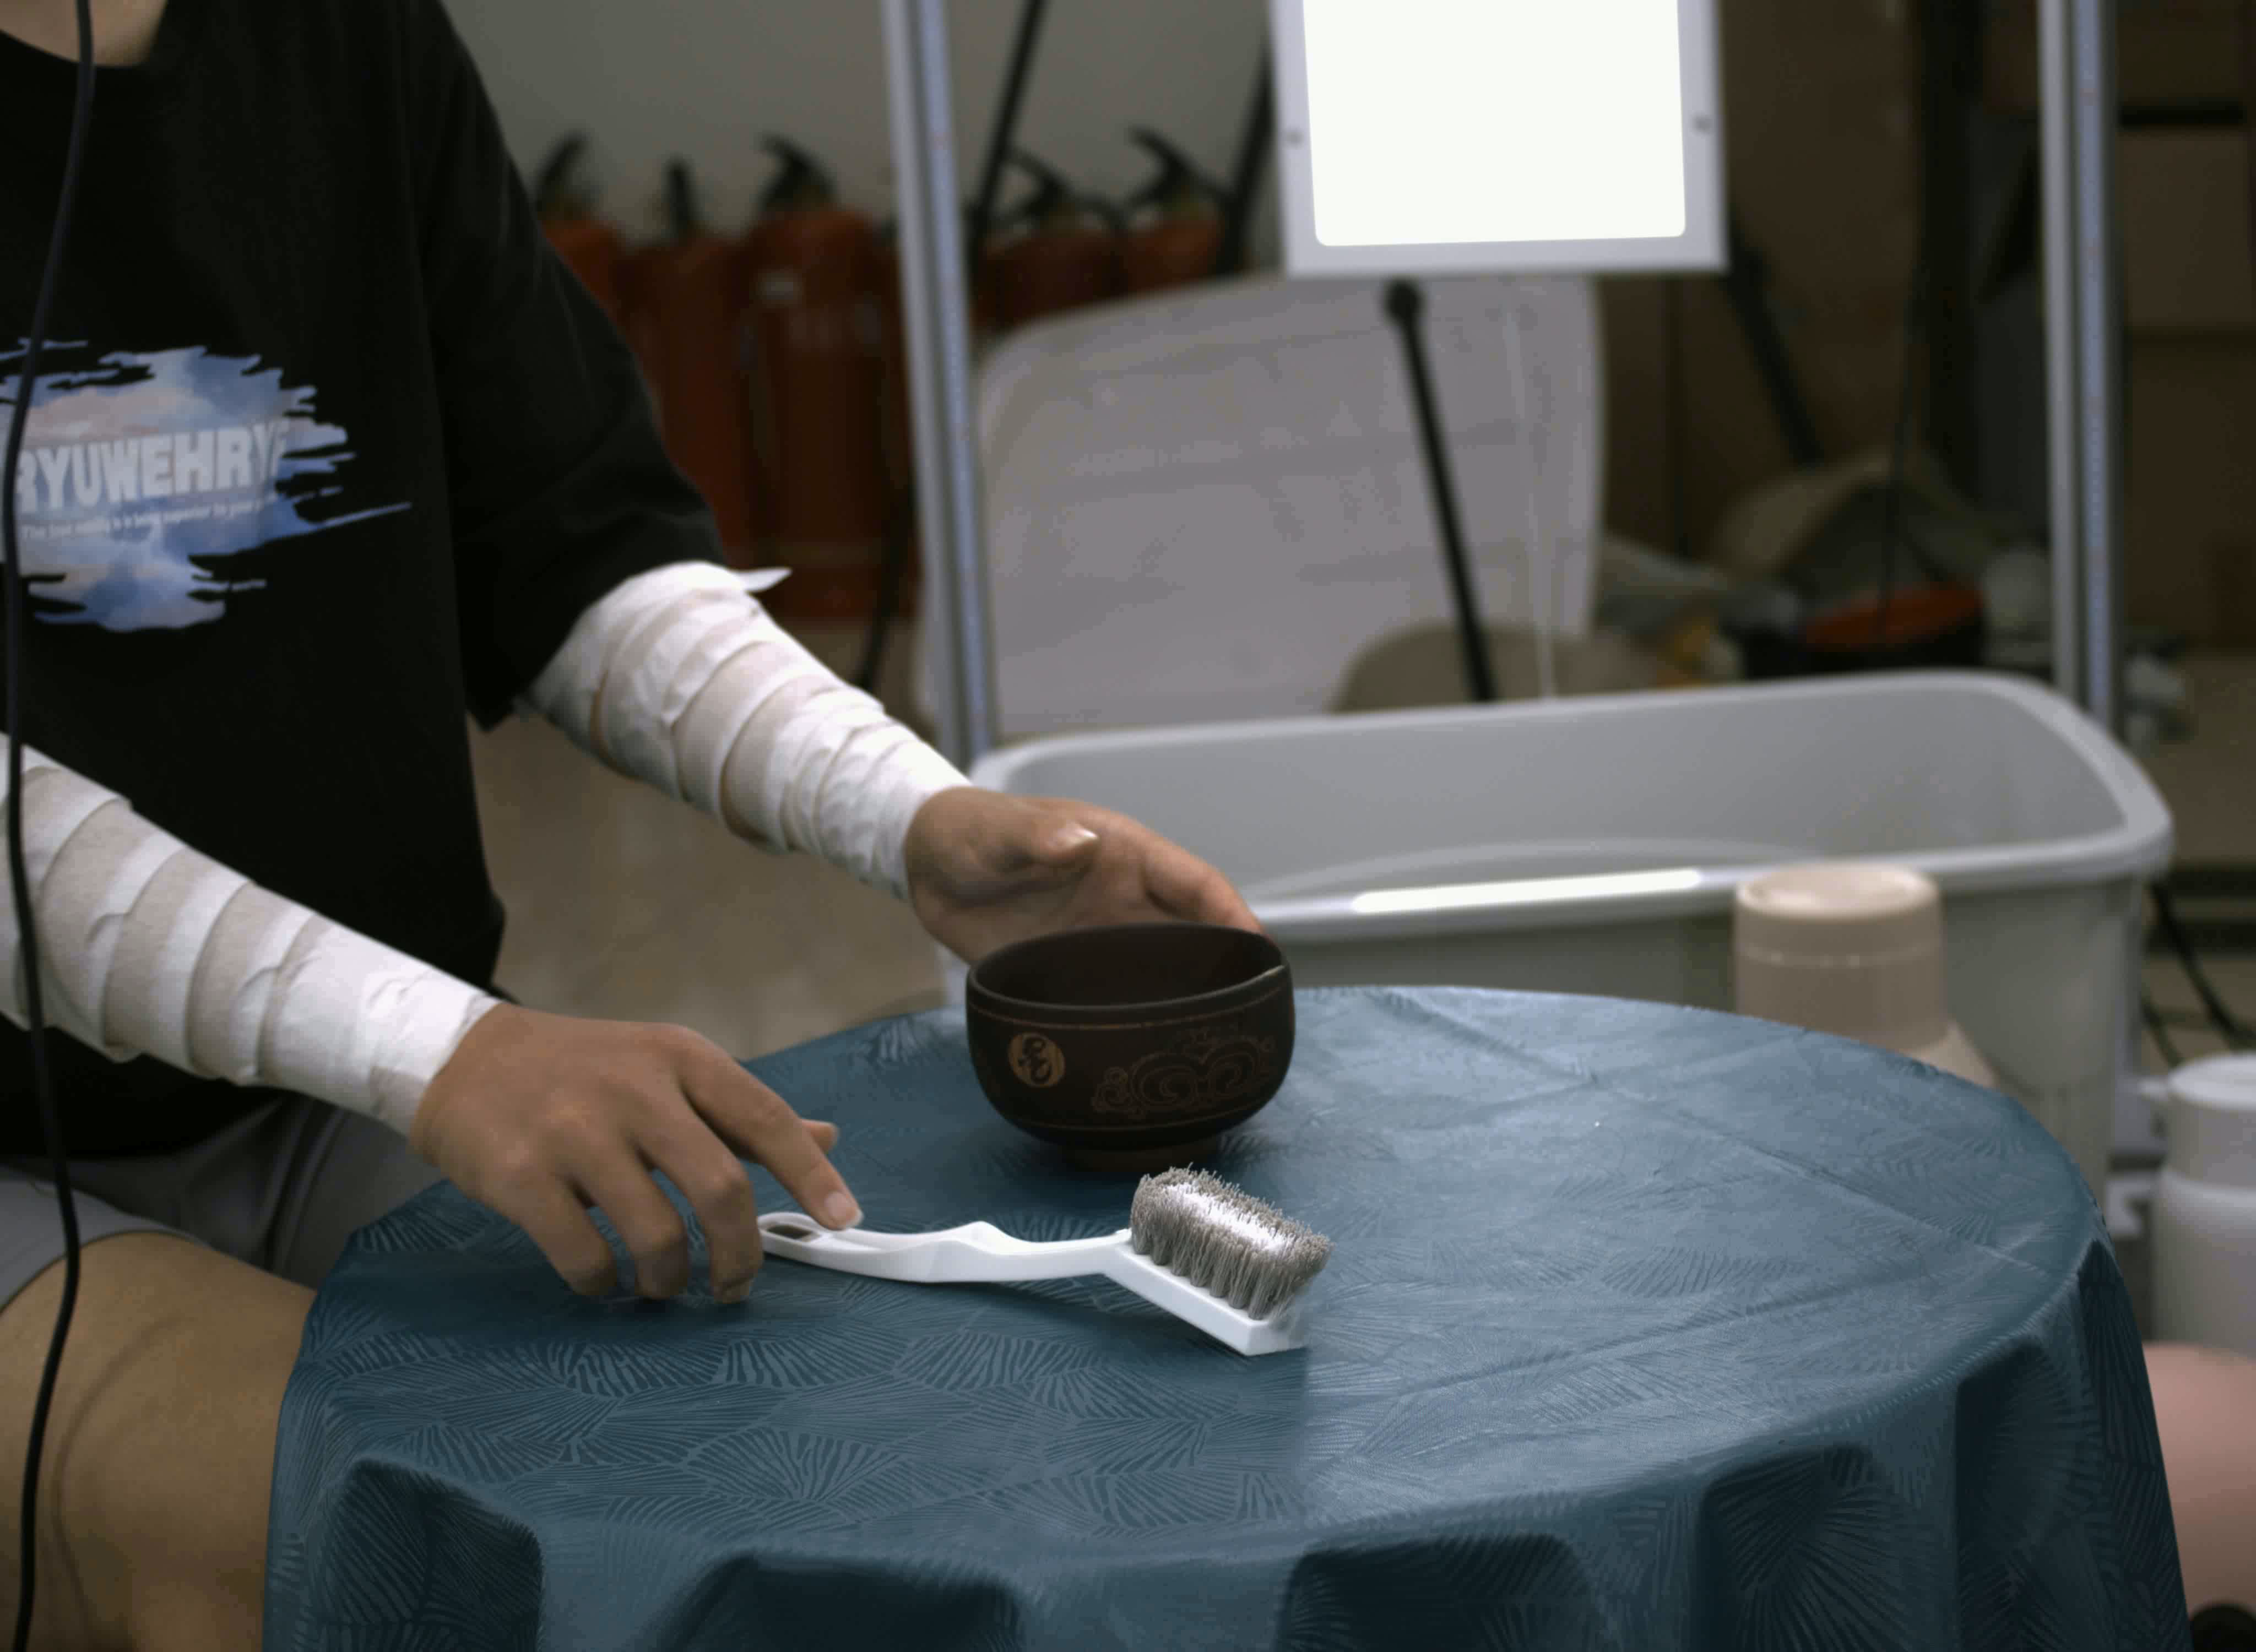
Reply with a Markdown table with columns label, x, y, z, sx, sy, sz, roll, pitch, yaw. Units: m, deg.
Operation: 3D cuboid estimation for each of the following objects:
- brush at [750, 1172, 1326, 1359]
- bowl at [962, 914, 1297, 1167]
| label | x | y | z | sx | sy | sz | roll | pitch | yaw |
| --- | --- | --- | --- | --- | --- | --- | --- | --- | --- |
| brush | -0.035 | 0.128 | 1.796 | 0.249 | 0.050 | 0.033 | 9 | 18 | 43 |
| bowl | 0.002 | 0.079 | 1.938 | 0.118 | 0.070 | 0.118 | -7 | 14 | 0 |
